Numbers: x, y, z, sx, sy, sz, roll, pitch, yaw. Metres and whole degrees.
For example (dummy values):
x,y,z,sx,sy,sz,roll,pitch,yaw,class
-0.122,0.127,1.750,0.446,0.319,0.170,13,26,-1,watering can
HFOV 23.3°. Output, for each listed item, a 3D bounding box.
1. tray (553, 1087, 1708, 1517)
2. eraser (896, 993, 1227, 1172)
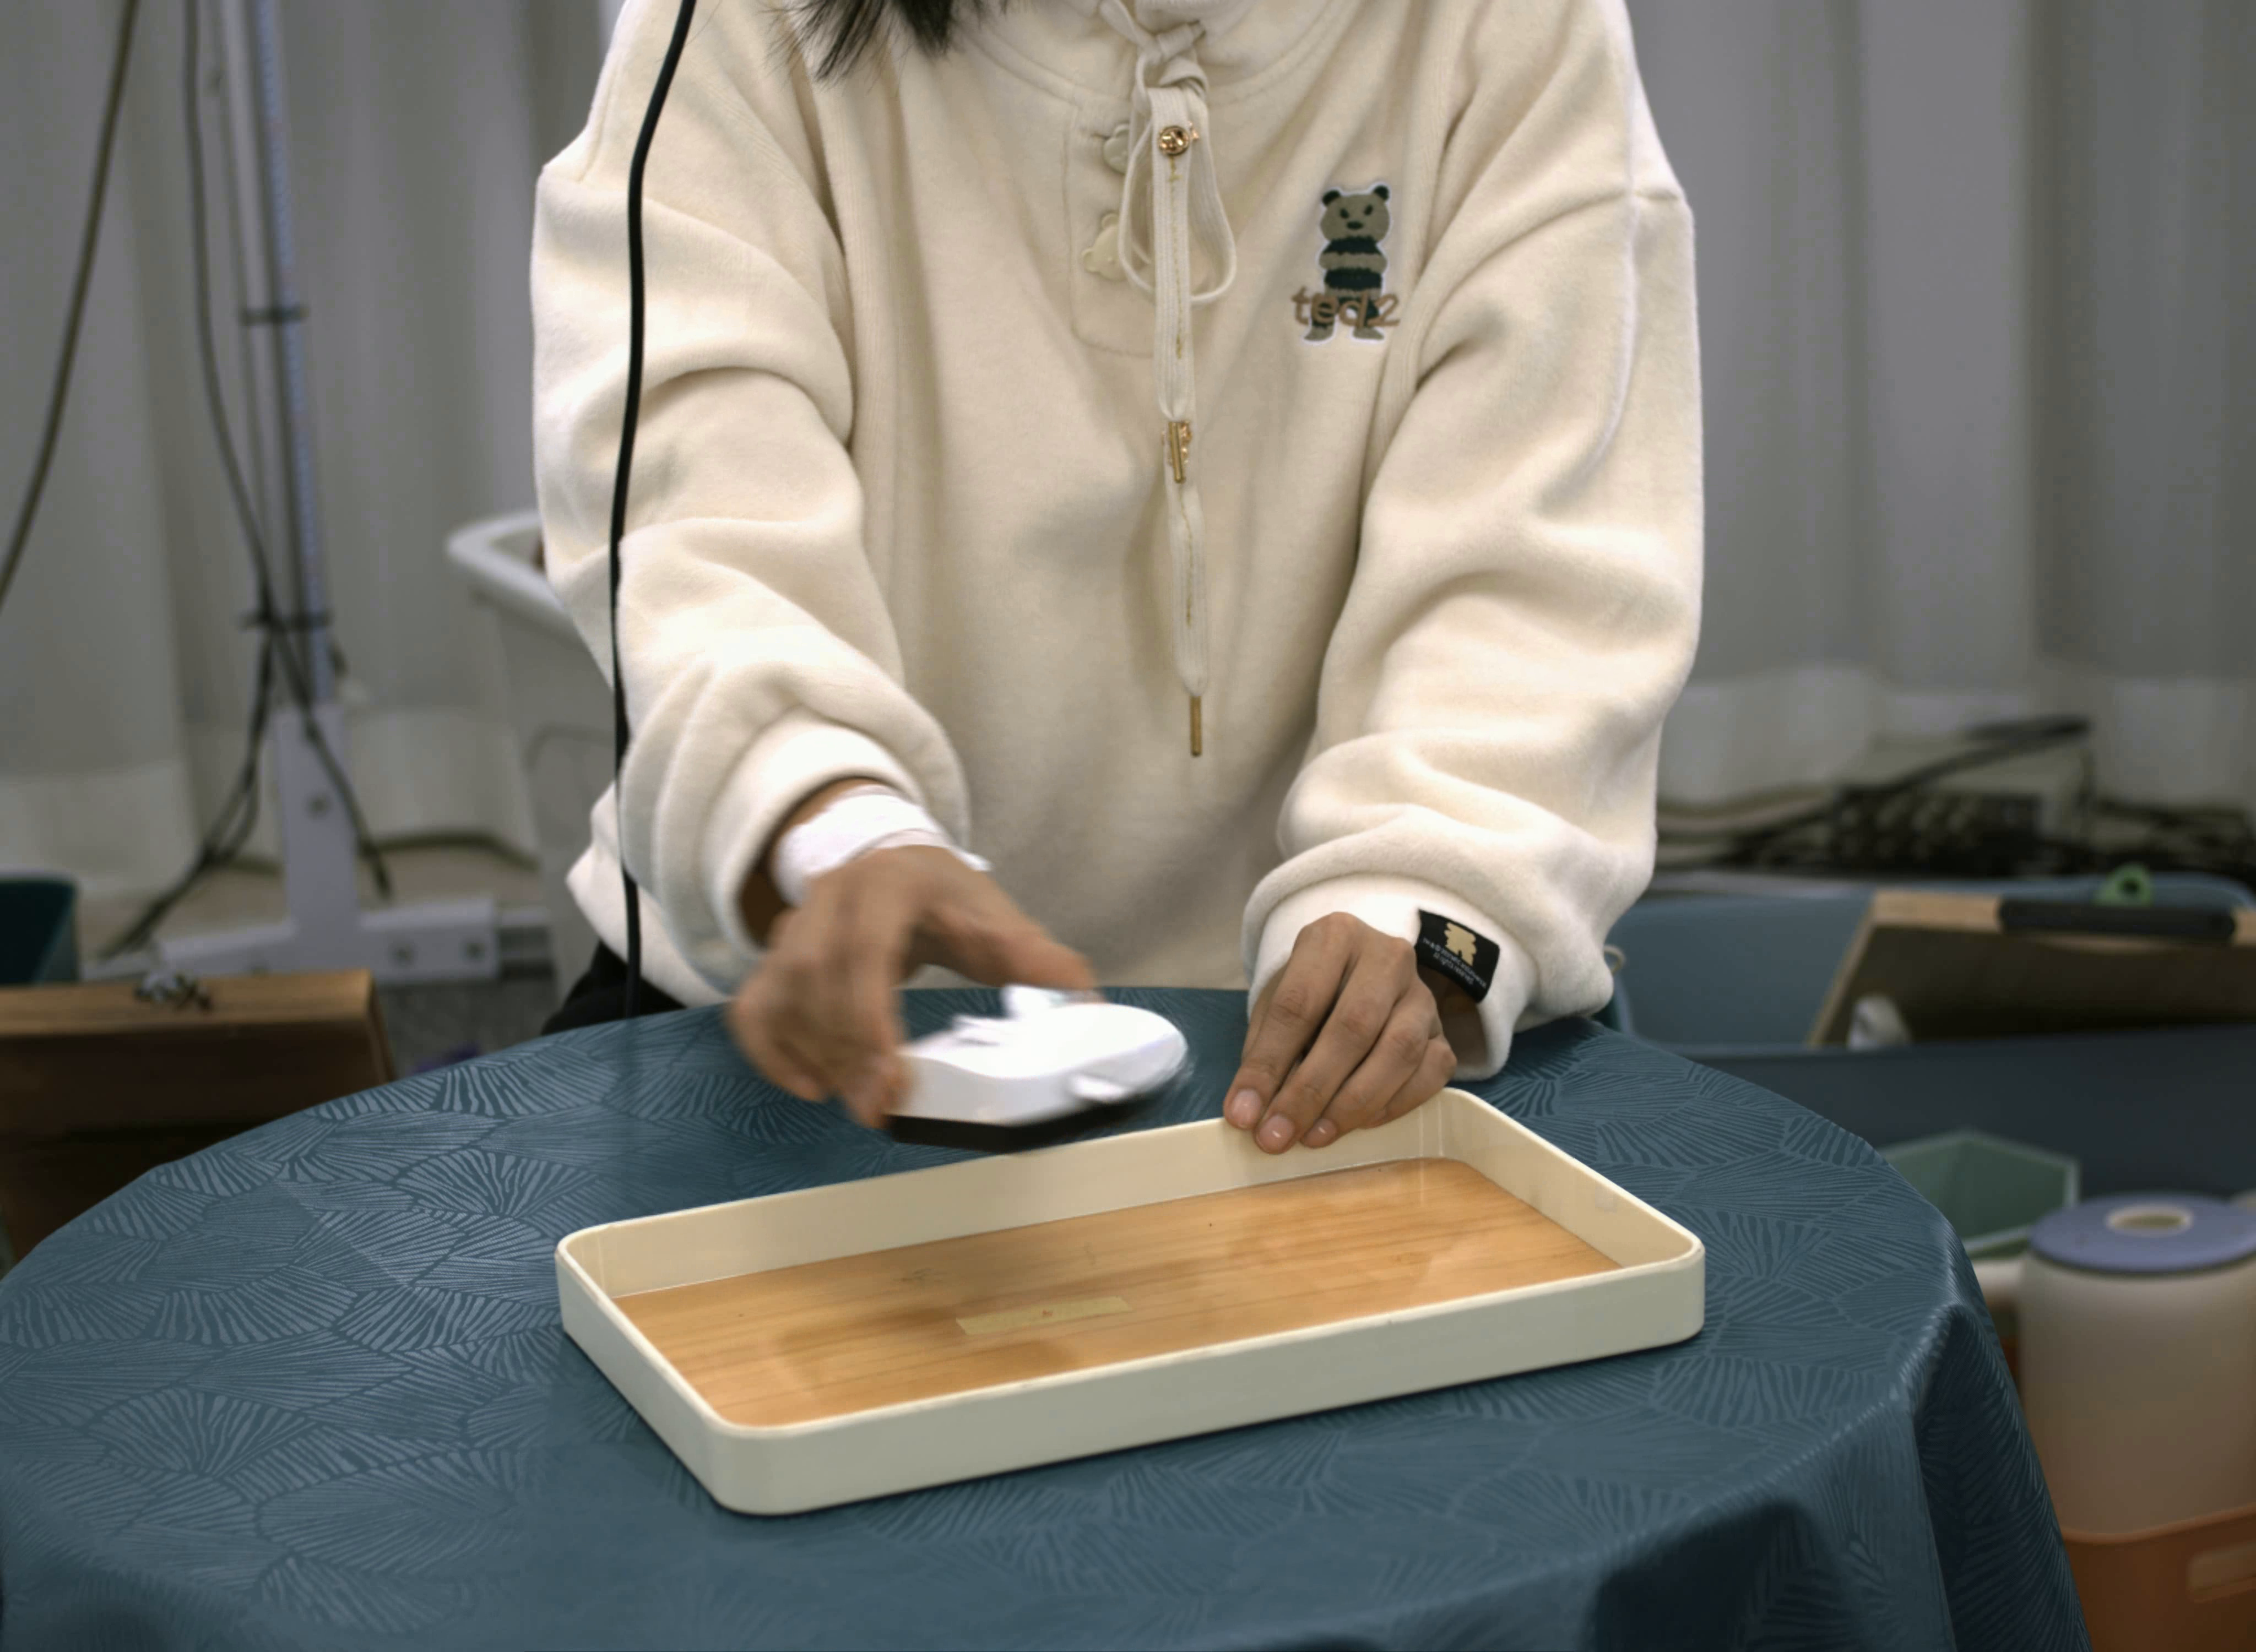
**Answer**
x,y,z,sx,sy,sz,roll,pitch,yaw,class
-0.001,0.134,1.588,0.299,0.027,0.193,-8,16,-19,tray
-0.019,0.075,1.596,0.063,0.034,0.131,-16,7,-22,eraser
